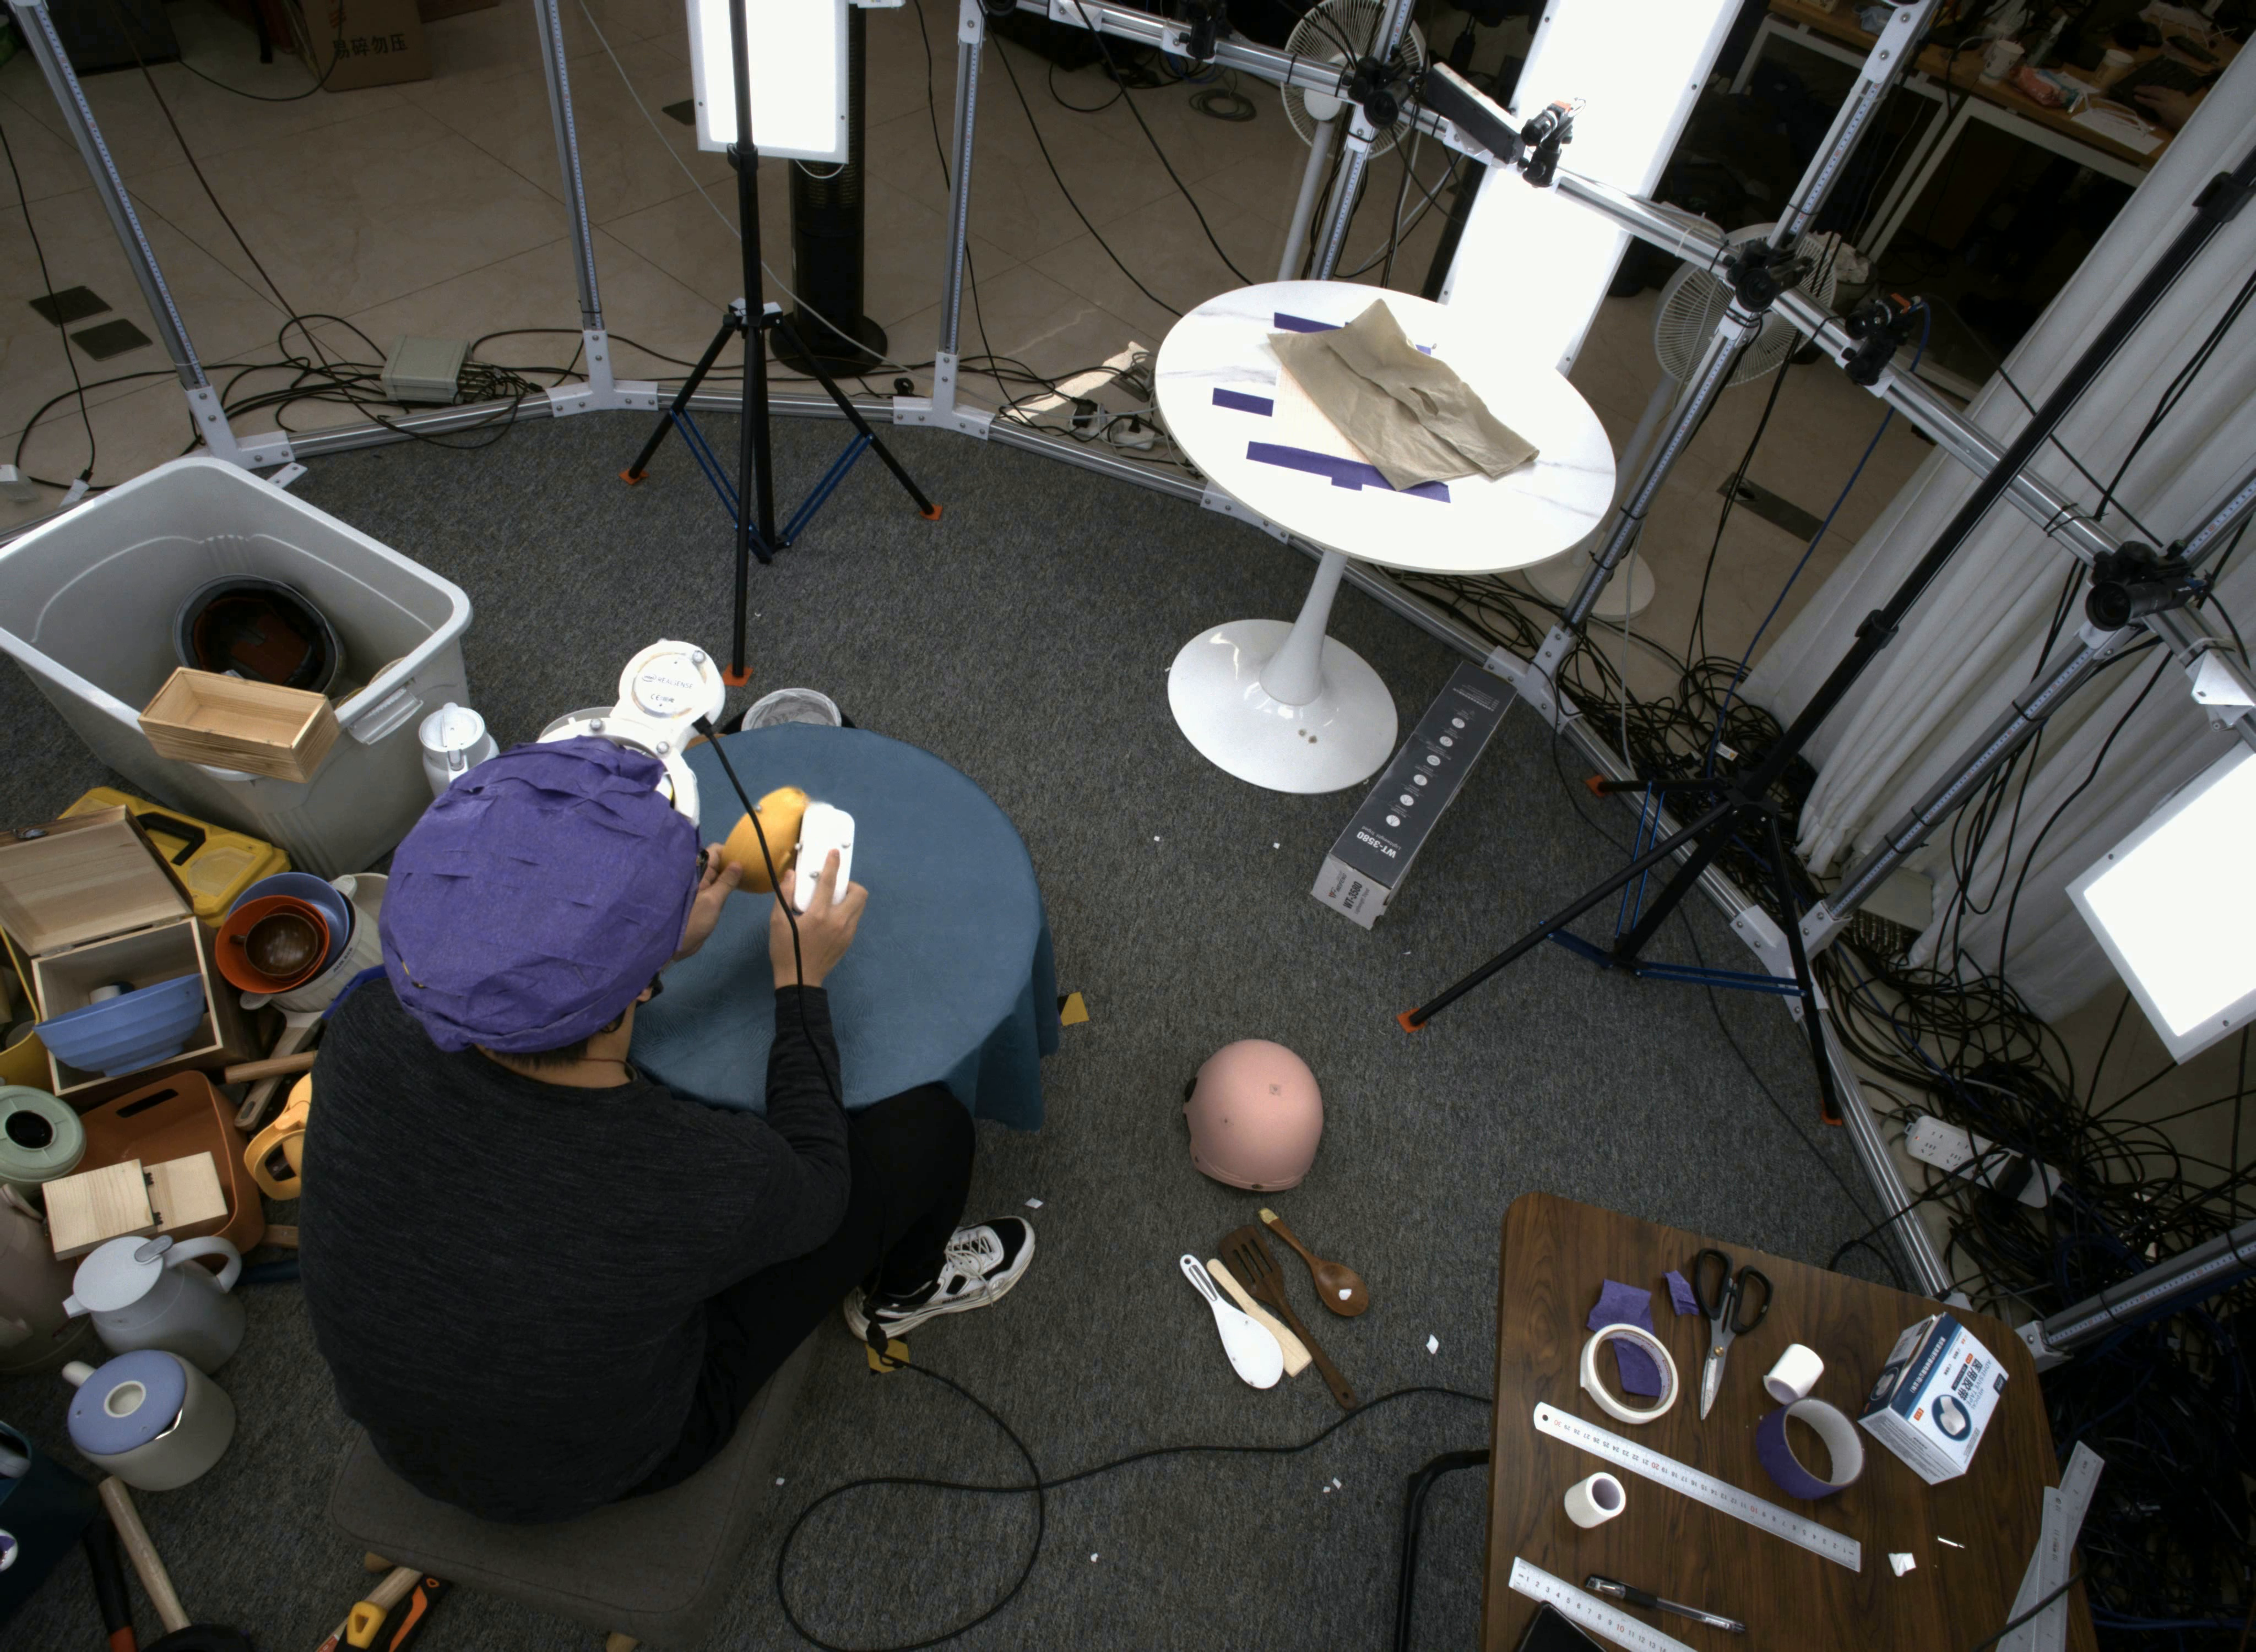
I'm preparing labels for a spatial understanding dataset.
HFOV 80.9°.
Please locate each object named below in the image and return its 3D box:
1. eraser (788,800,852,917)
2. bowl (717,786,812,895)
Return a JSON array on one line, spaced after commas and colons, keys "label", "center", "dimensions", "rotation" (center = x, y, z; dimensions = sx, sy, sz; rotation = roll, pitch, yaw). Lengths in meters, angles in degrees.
[{"label": "eraser", "center": [-0.355, 0.036, 1.490], "dimensions": [0.065, 0.034, 0.130], "rotation": [17, 66, -37]}, {"label": "bowl", "center": [-0.409, 0.028, 1.527], "dimensions": [0.059, 0.148, 0.145], "rotation": [35, 53, 16]}]
